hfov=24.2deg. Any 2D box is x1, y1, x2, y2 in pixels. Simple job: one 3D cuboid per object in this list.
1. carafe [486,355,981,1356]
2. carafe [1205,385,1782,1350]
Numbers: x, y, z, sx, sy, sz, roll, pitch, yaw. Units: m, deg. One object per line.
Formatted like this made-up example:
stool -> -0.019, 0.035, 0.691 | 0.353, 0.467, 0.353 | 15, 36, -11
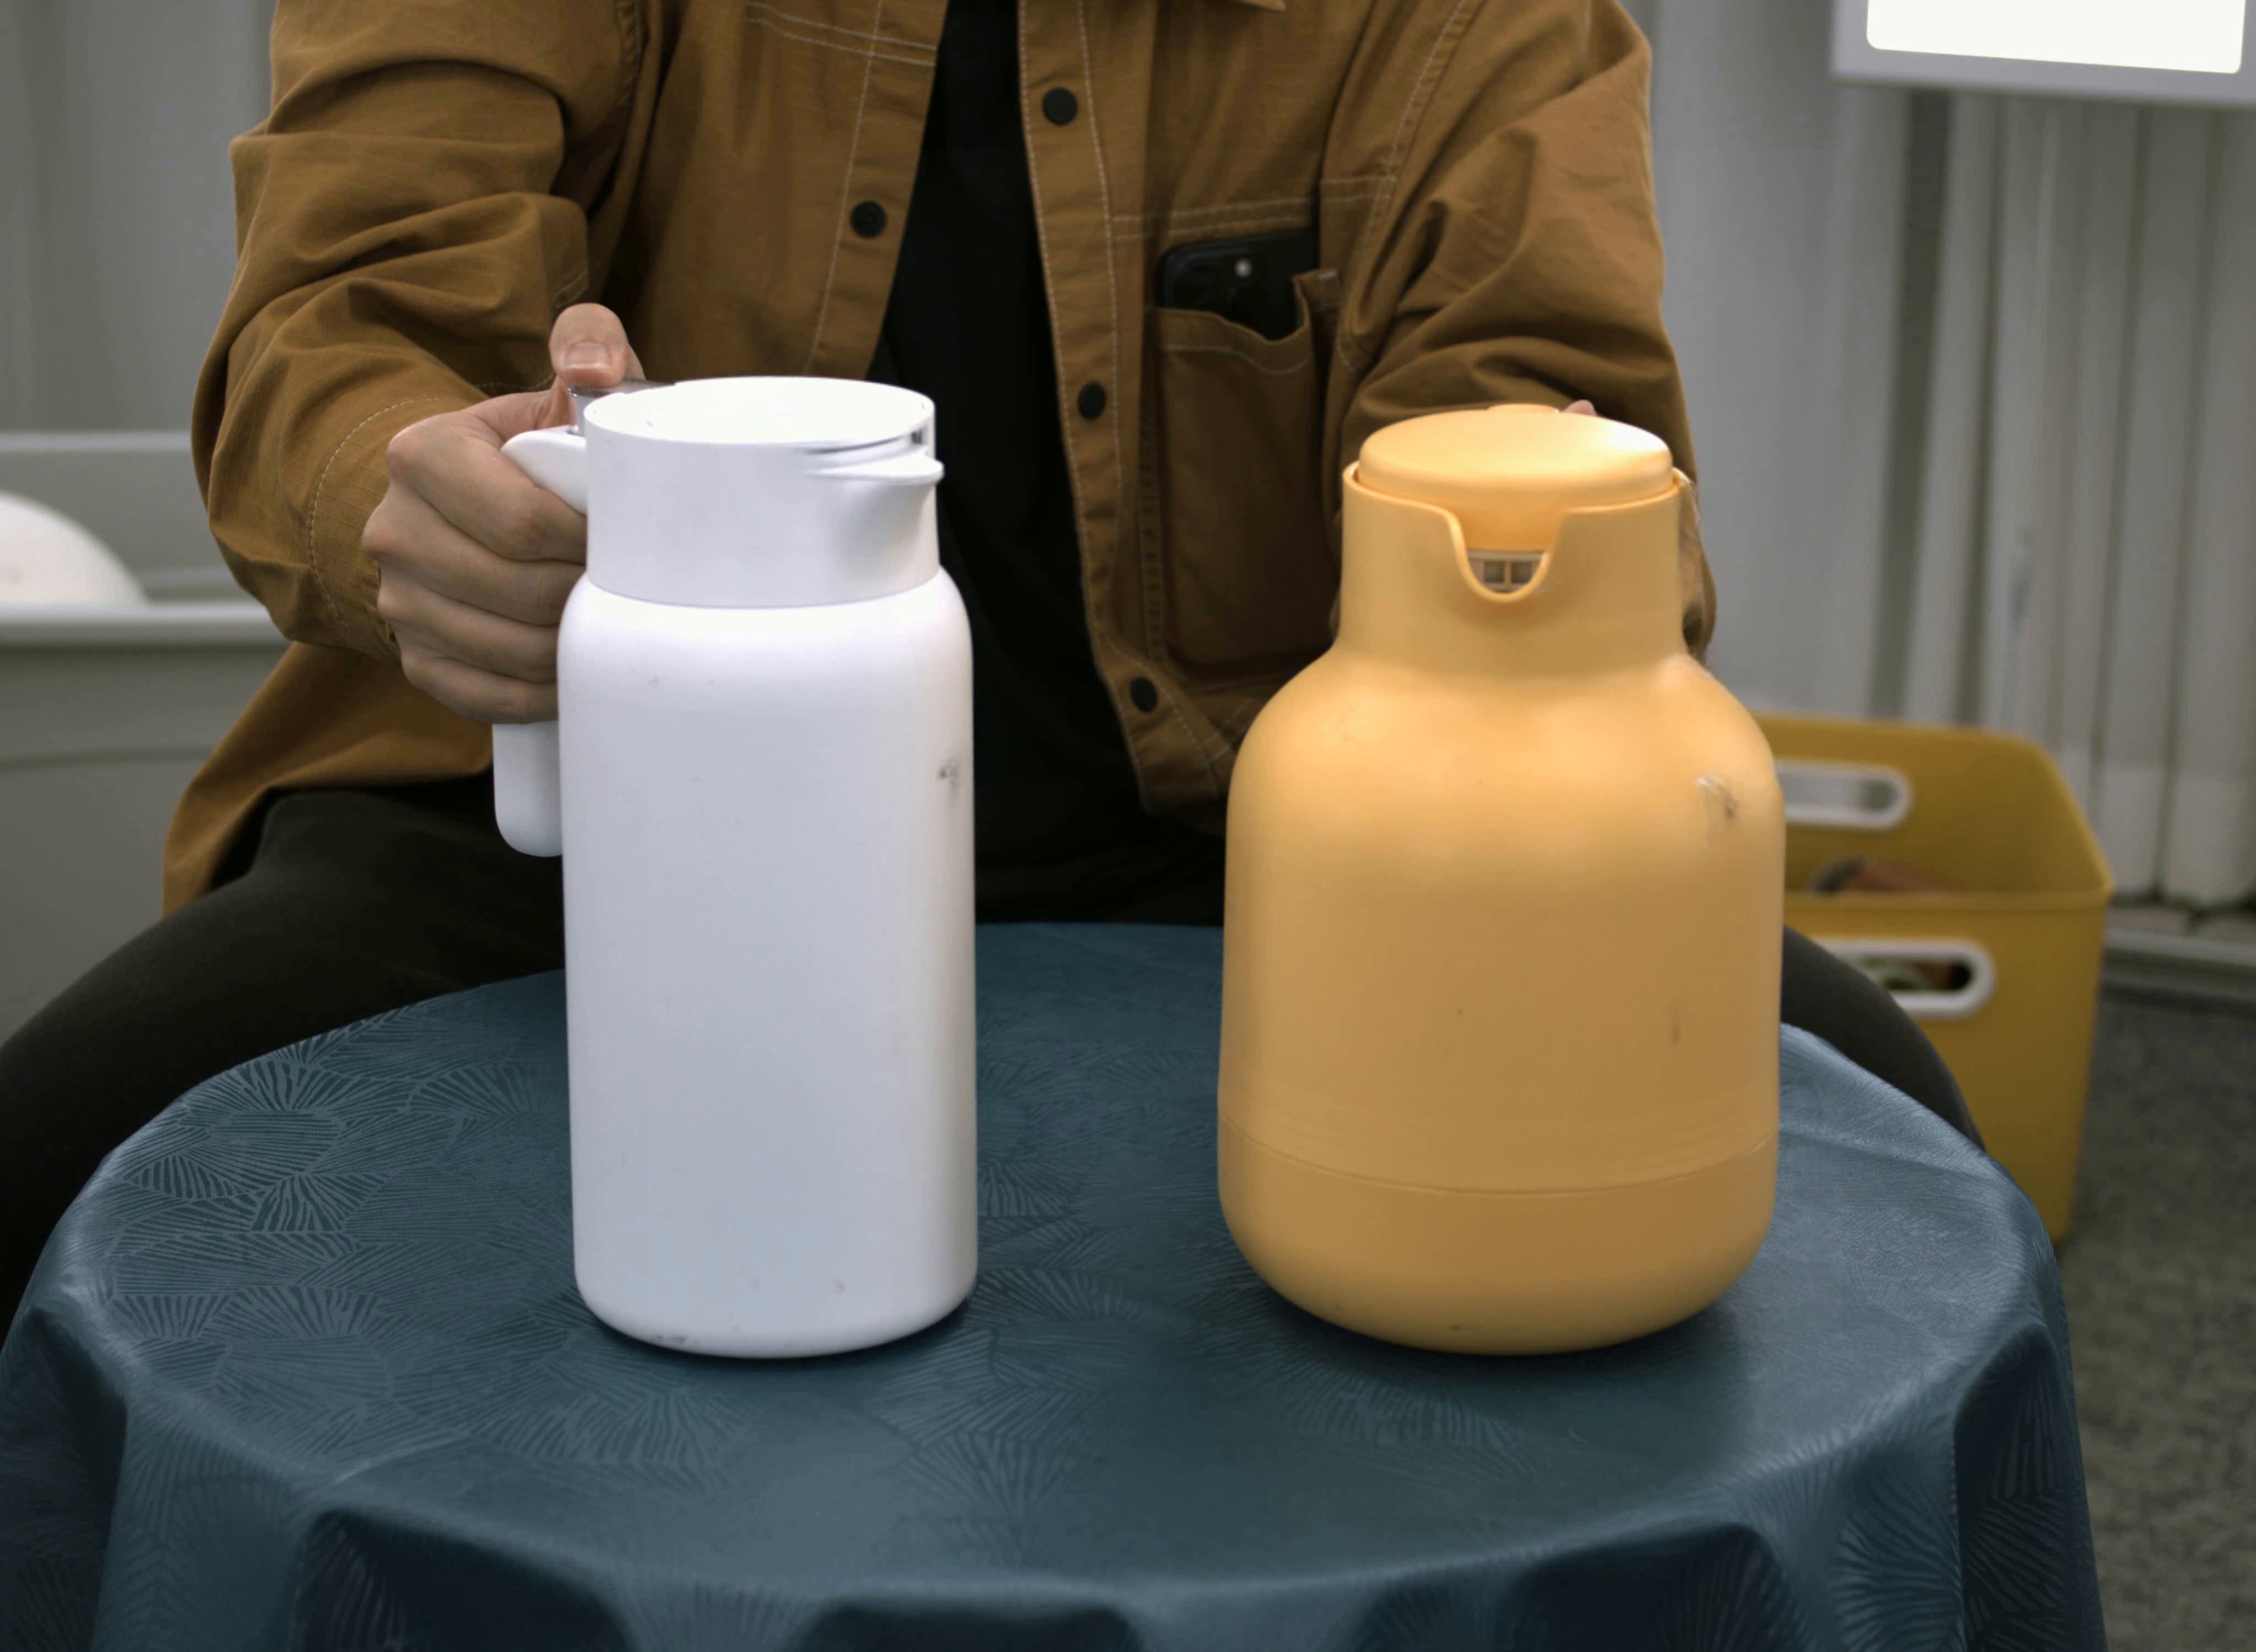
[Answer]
carafe -> -0.115, 0.006, 1.499 | 0.170, 0.271, 0.124 | 12, 22, 40
carafe -> 0.110, 0.004, 1.523 | 0.162, 0.262, 0.202 | 5, 18, 7
